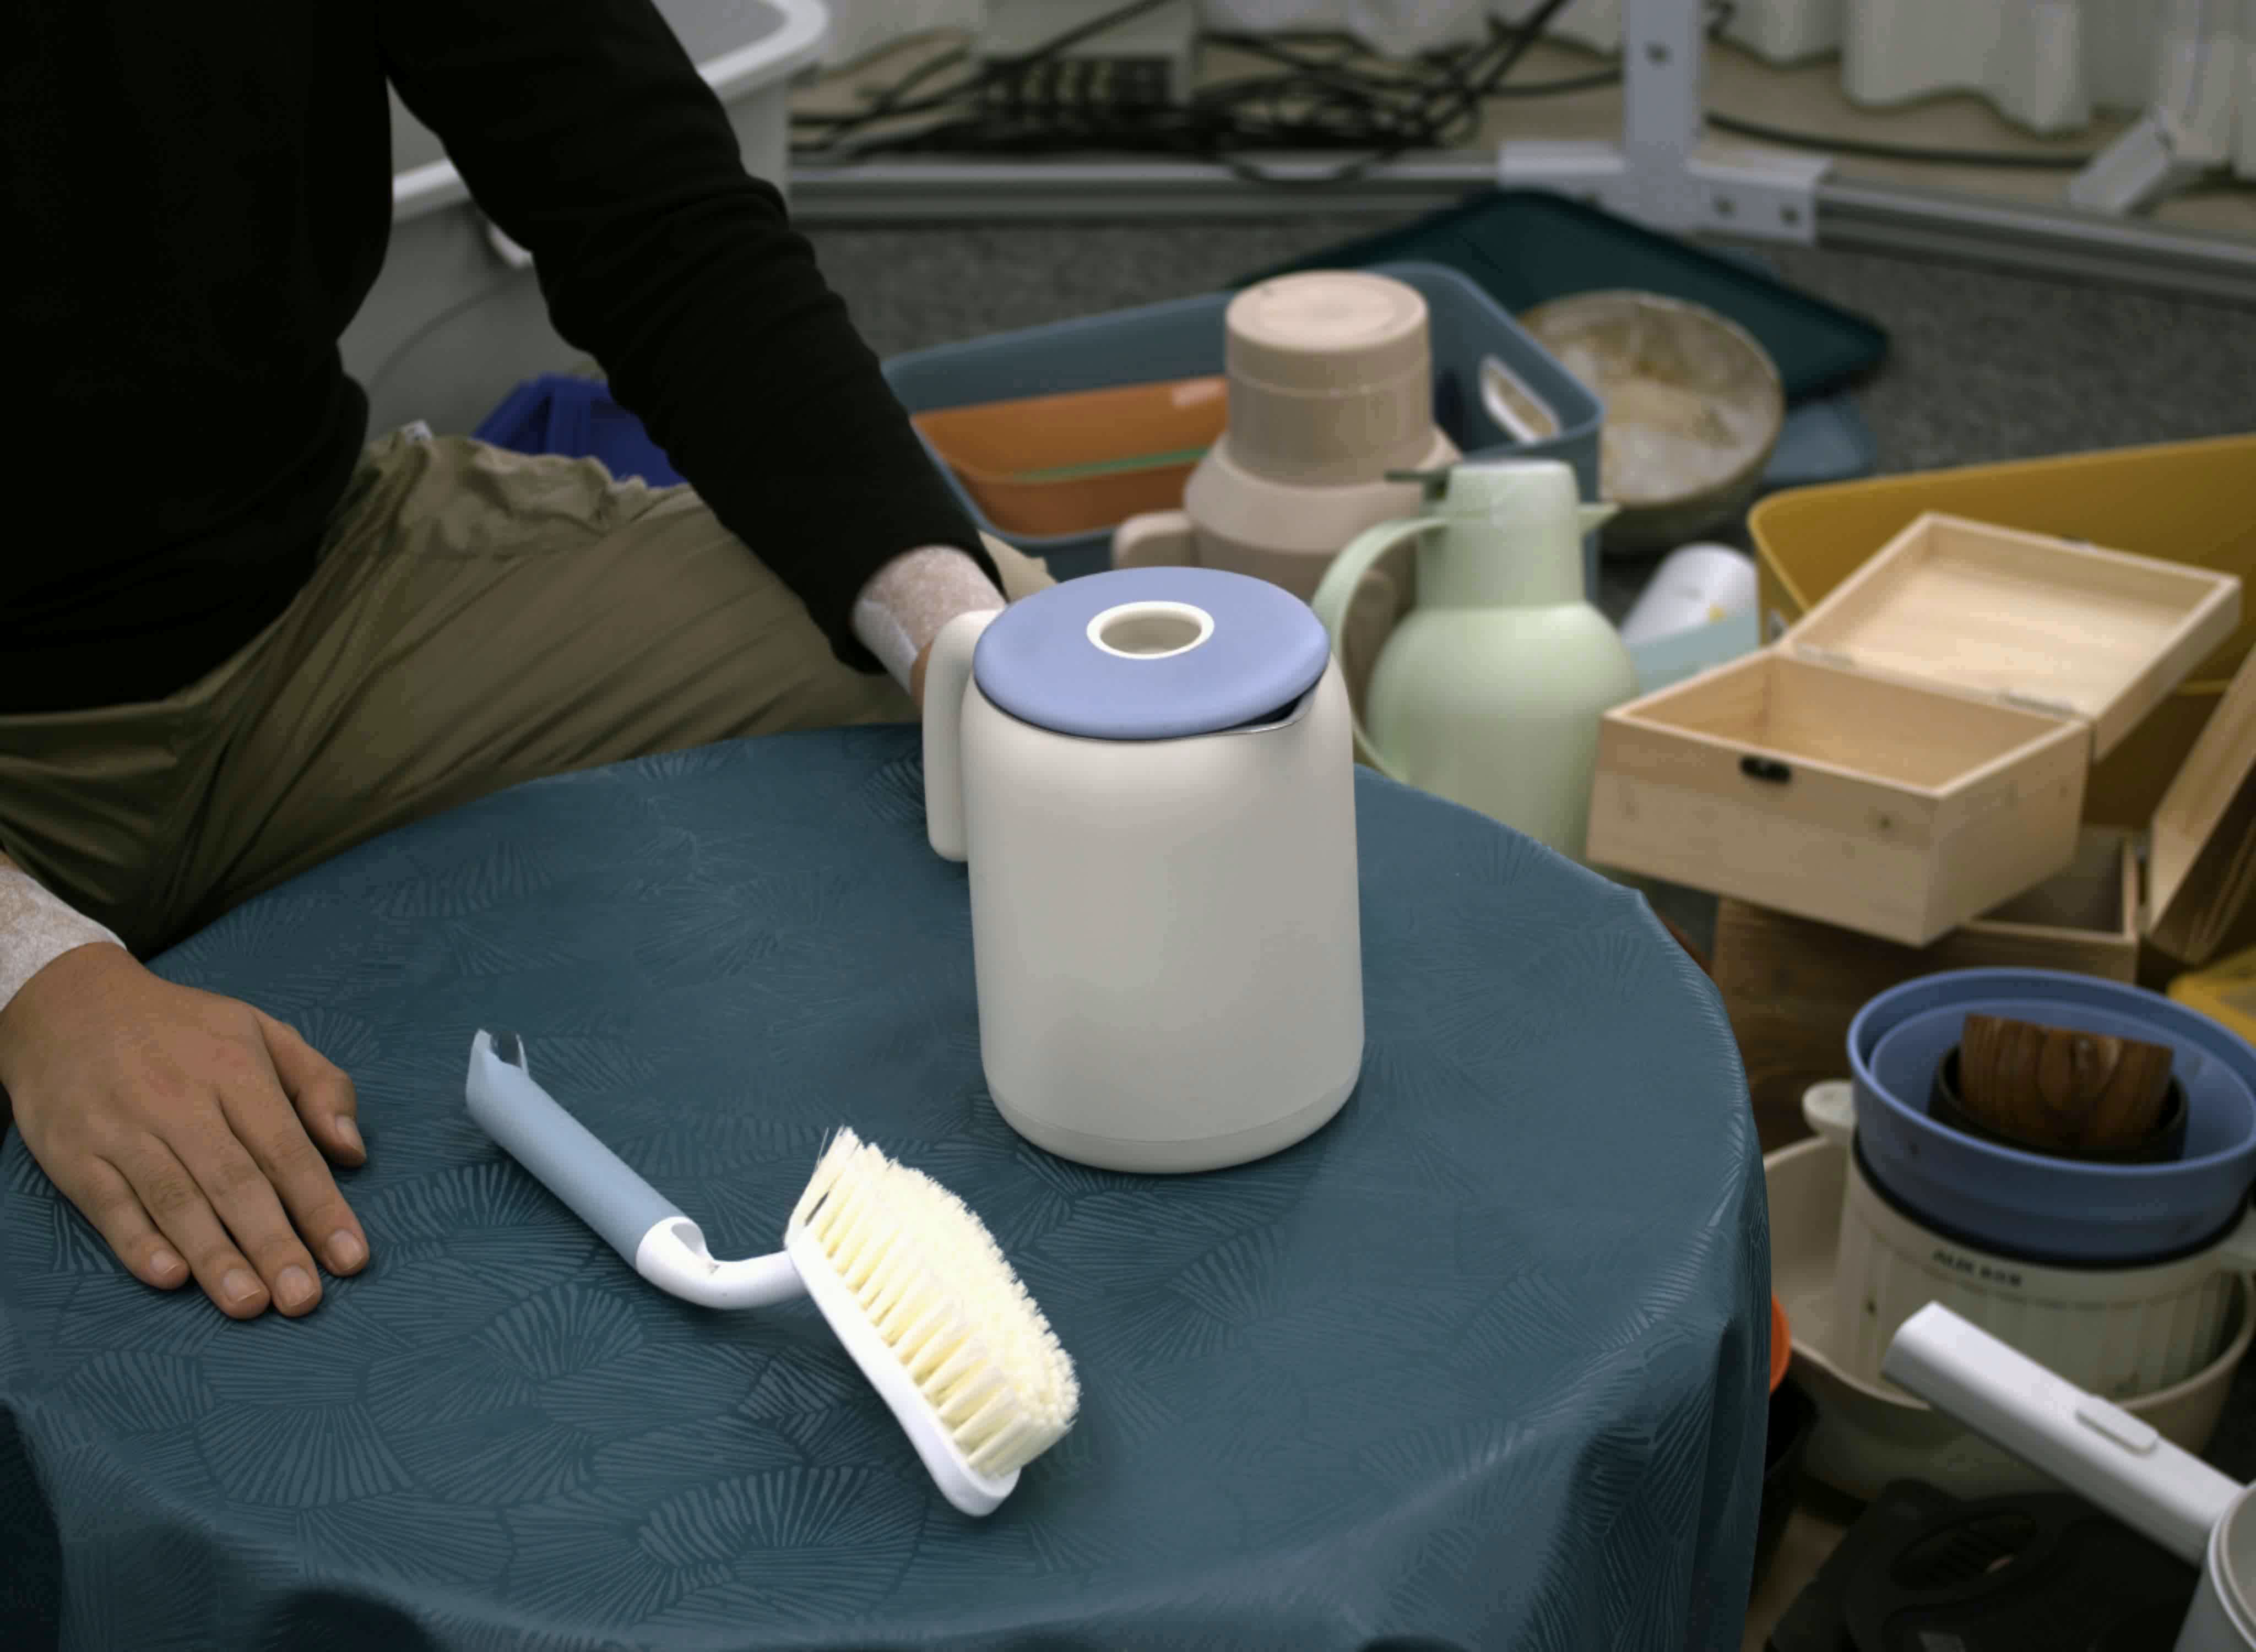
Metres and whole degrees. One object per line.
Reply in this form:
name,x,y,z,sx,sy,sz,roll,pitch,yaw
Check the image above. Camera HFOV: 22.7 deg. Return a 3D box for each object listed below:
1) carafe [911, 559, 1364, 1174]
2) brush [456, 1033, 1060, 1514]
carafe,-0.005,0.006,1.901,0.134,0.181,0.191,-25,33,-37
brush,-0.119,0.113,1.803,0.085,0.082,0.326,-24,35,-24
